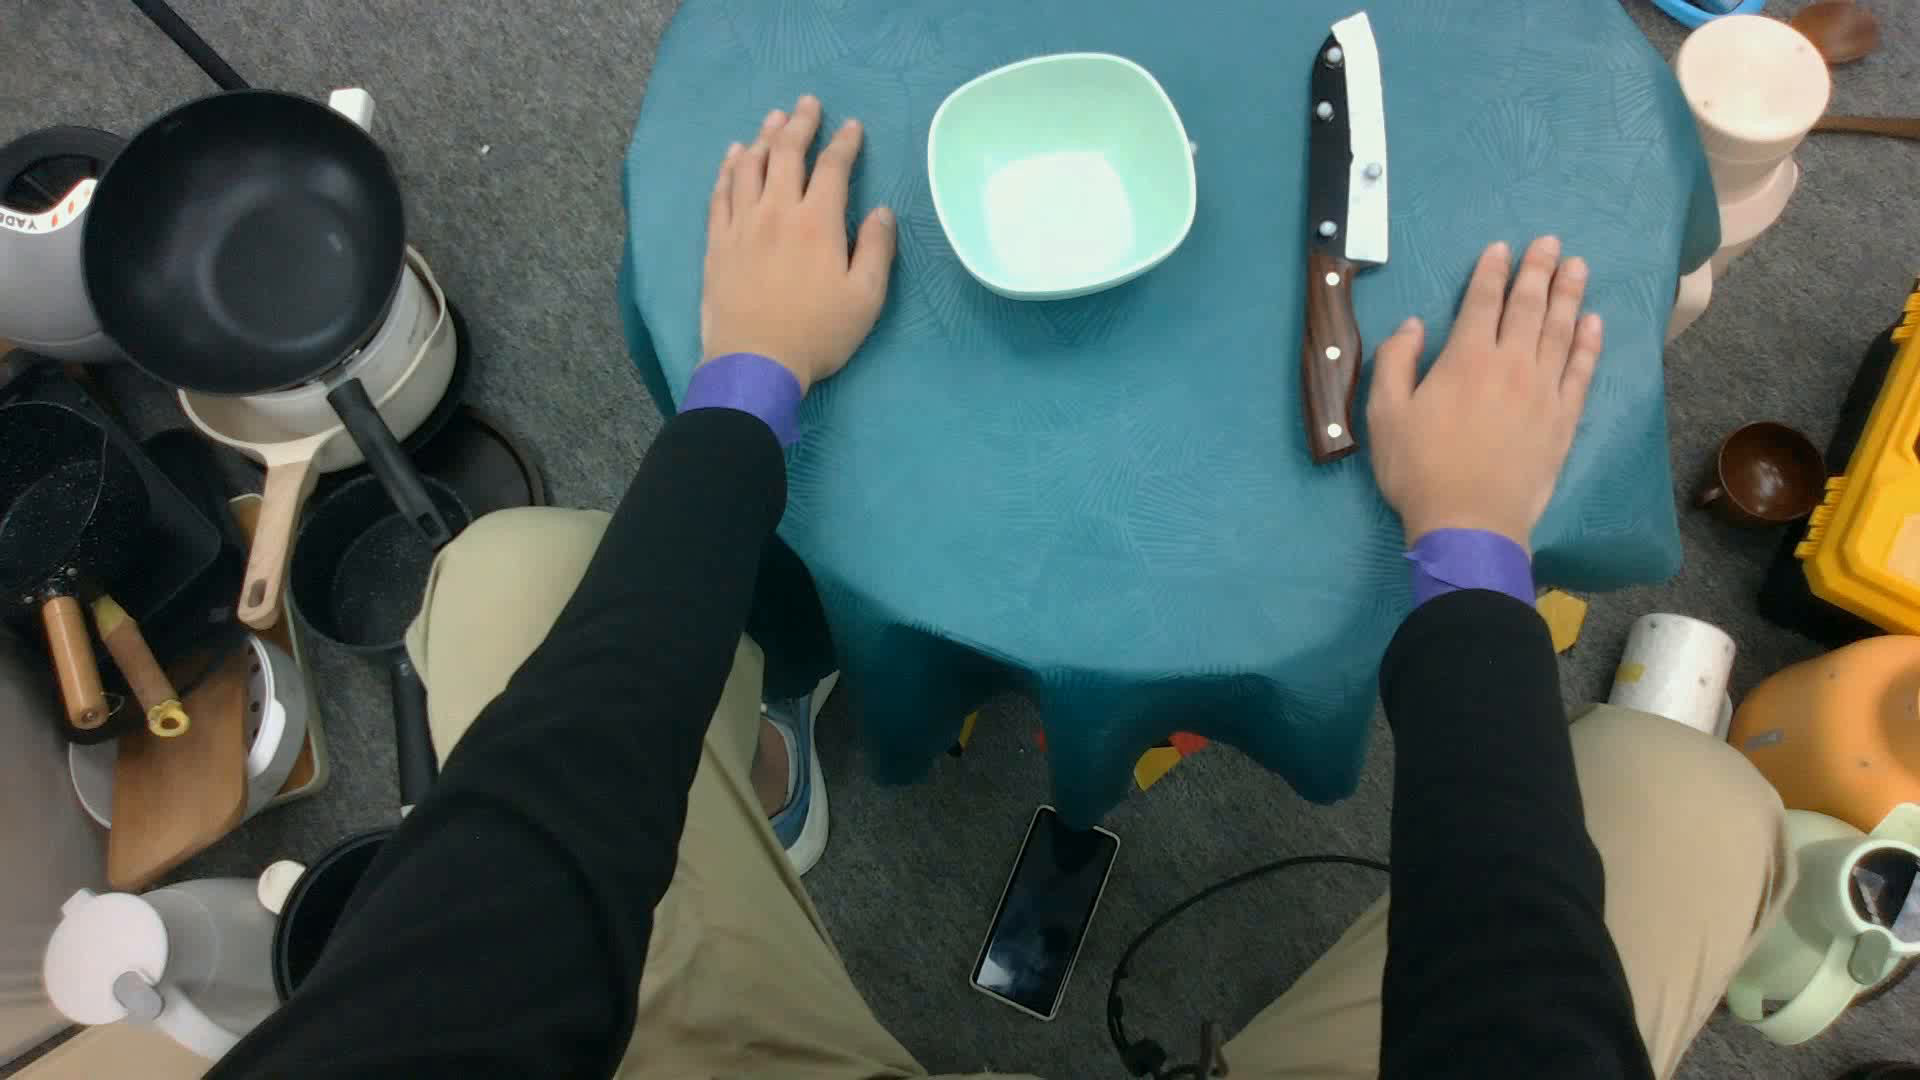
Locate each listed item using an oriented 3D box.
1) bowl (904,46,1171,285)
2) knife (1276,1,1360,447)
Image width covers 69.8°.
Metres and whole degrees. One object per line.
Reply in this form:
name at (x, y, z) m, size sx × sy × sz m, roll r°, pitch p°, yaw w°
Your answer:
bowl at (0.042, -0.195, 0.757) m, size 0.151 × 0.058 × 0.152 m, roll -1°, pitch 71°, yaw 2°
knife at (0.199, -0.185, 0.771) m, size 0.050 × 0.020 × 0.290 m, roll 8°, pitch 71°, yaw -1°
